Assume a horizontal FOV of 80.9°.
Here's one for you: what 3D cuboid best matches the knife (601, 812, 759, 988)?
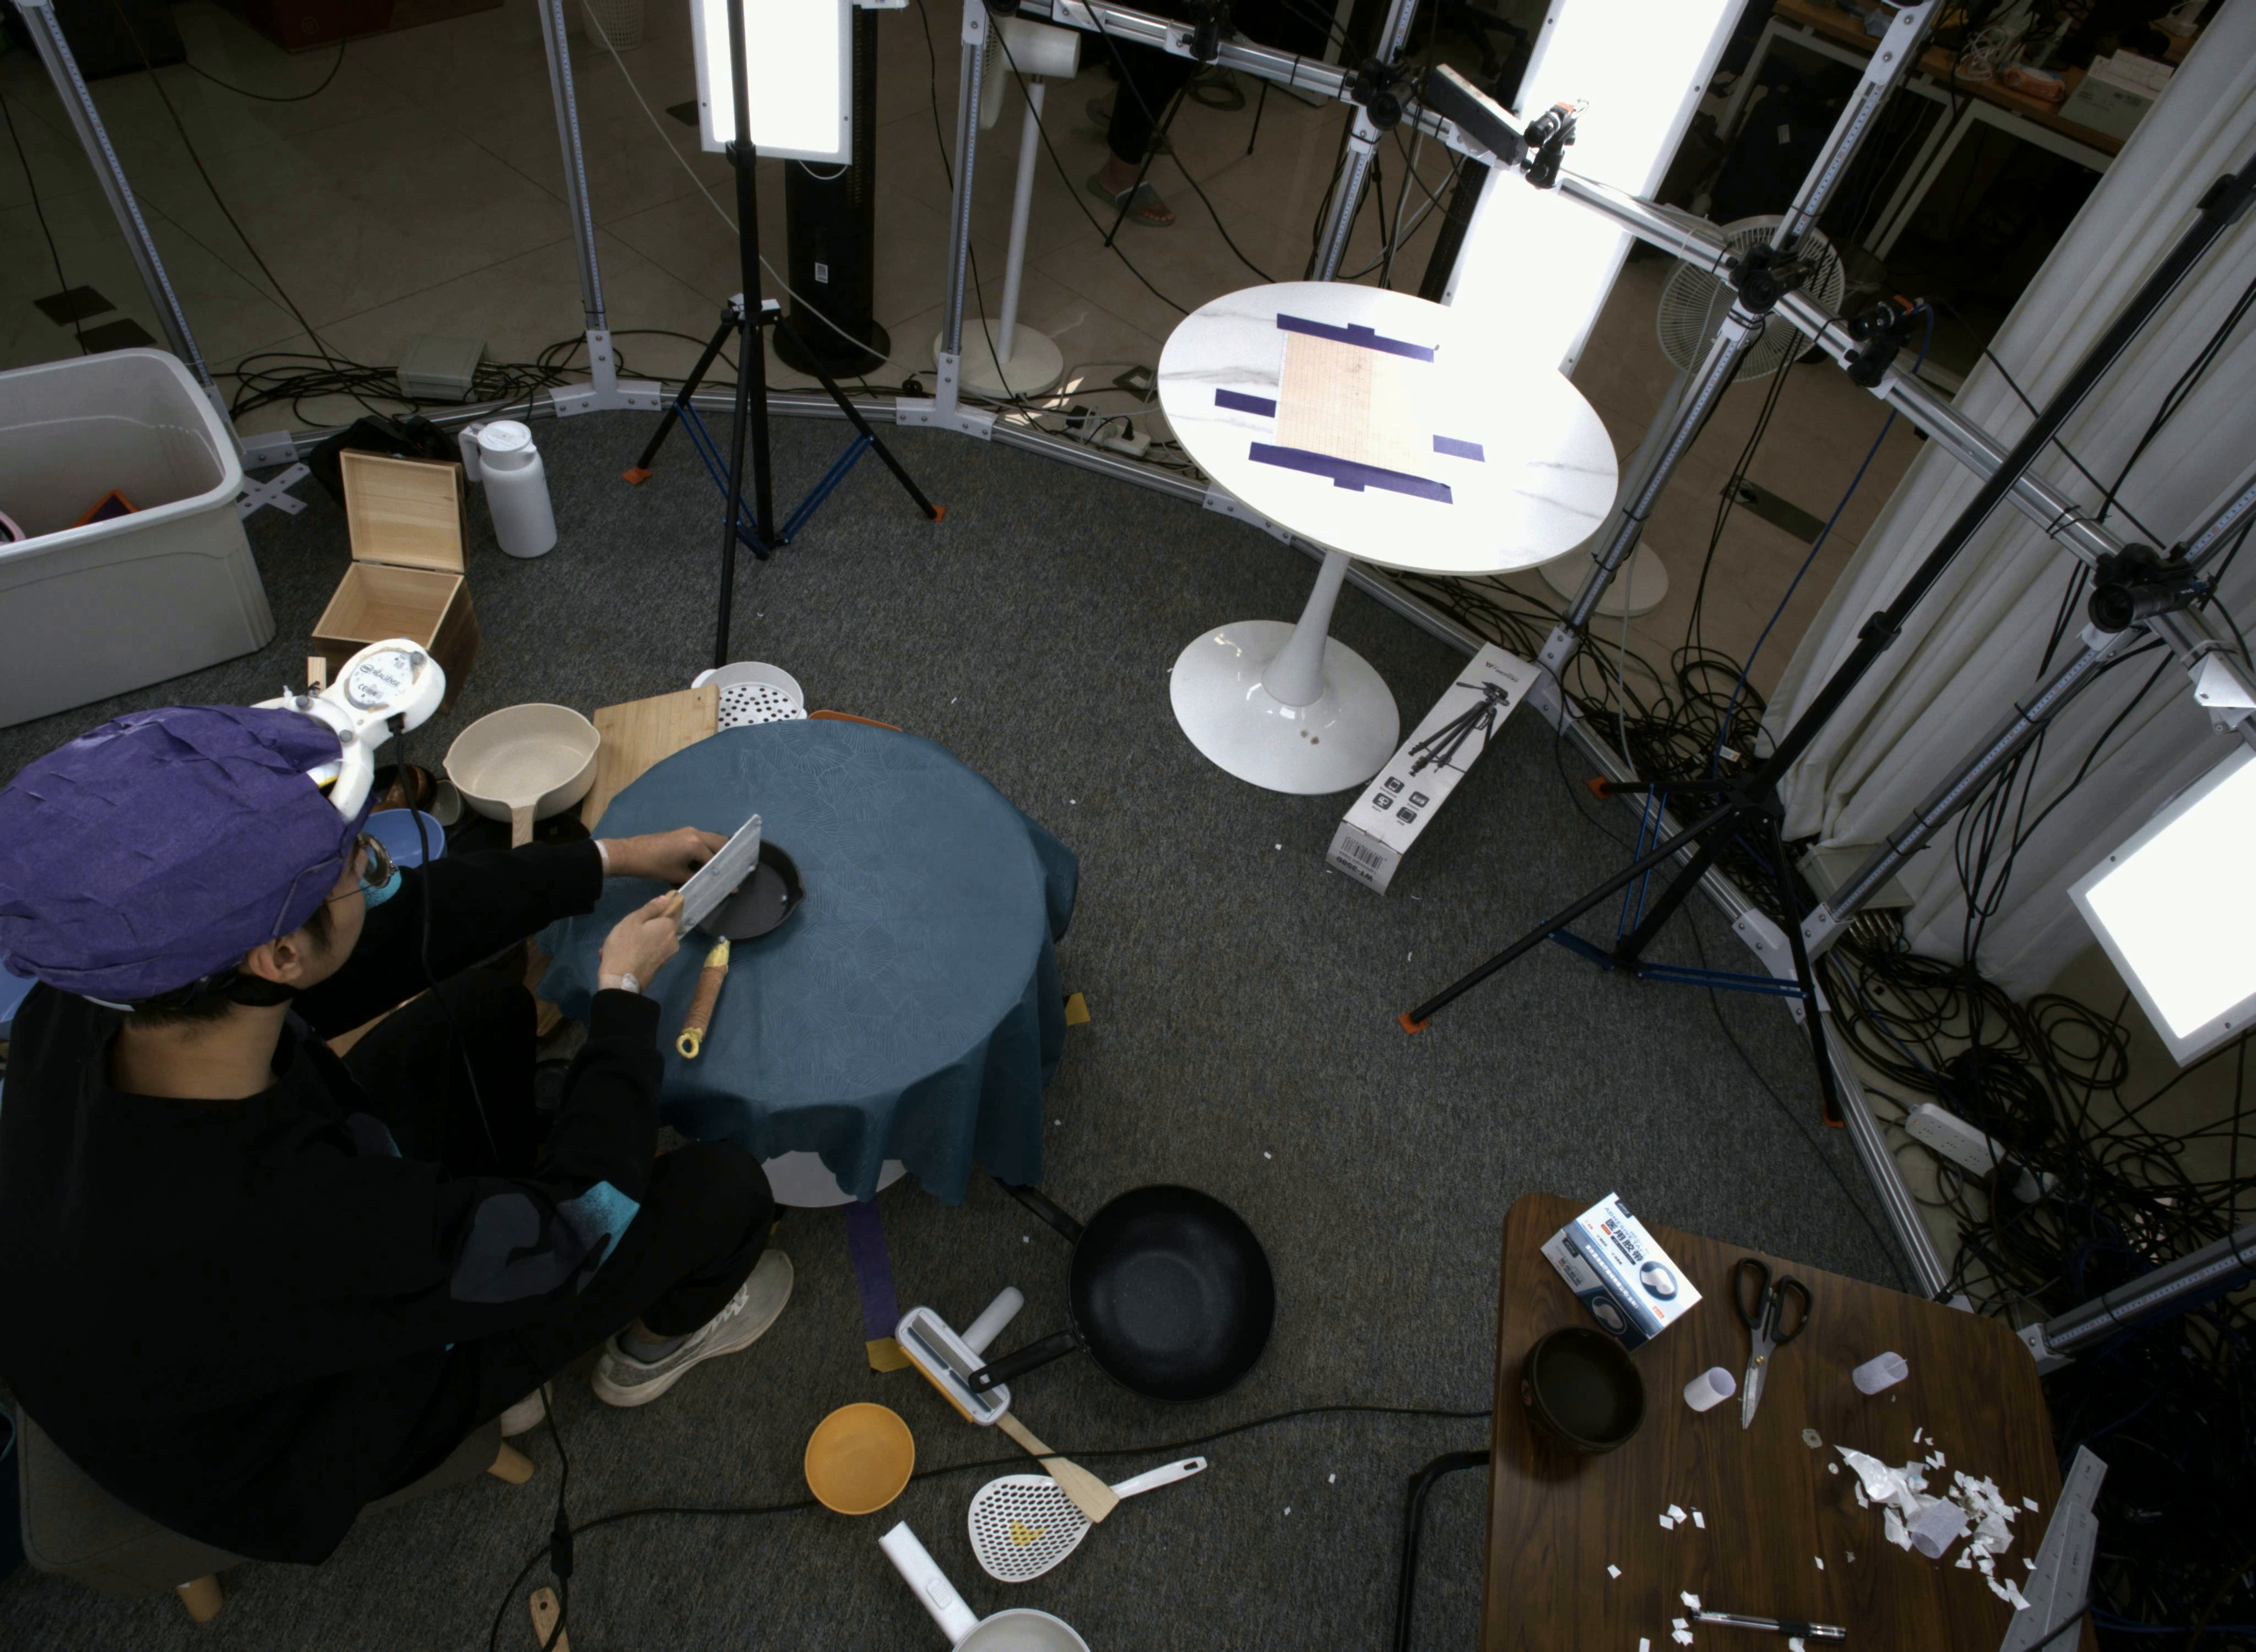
[{"bbox_3d":[-0.515,0.086,1.504,0.021,0.116,0.313,23,33,8],"label":"knife"}]

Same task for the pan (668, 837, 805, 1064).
[{"bbox_3d":[-0.491,0.144,1.555,0.168,0.050,0.318,10,51,-7],"label":"pan"}]
